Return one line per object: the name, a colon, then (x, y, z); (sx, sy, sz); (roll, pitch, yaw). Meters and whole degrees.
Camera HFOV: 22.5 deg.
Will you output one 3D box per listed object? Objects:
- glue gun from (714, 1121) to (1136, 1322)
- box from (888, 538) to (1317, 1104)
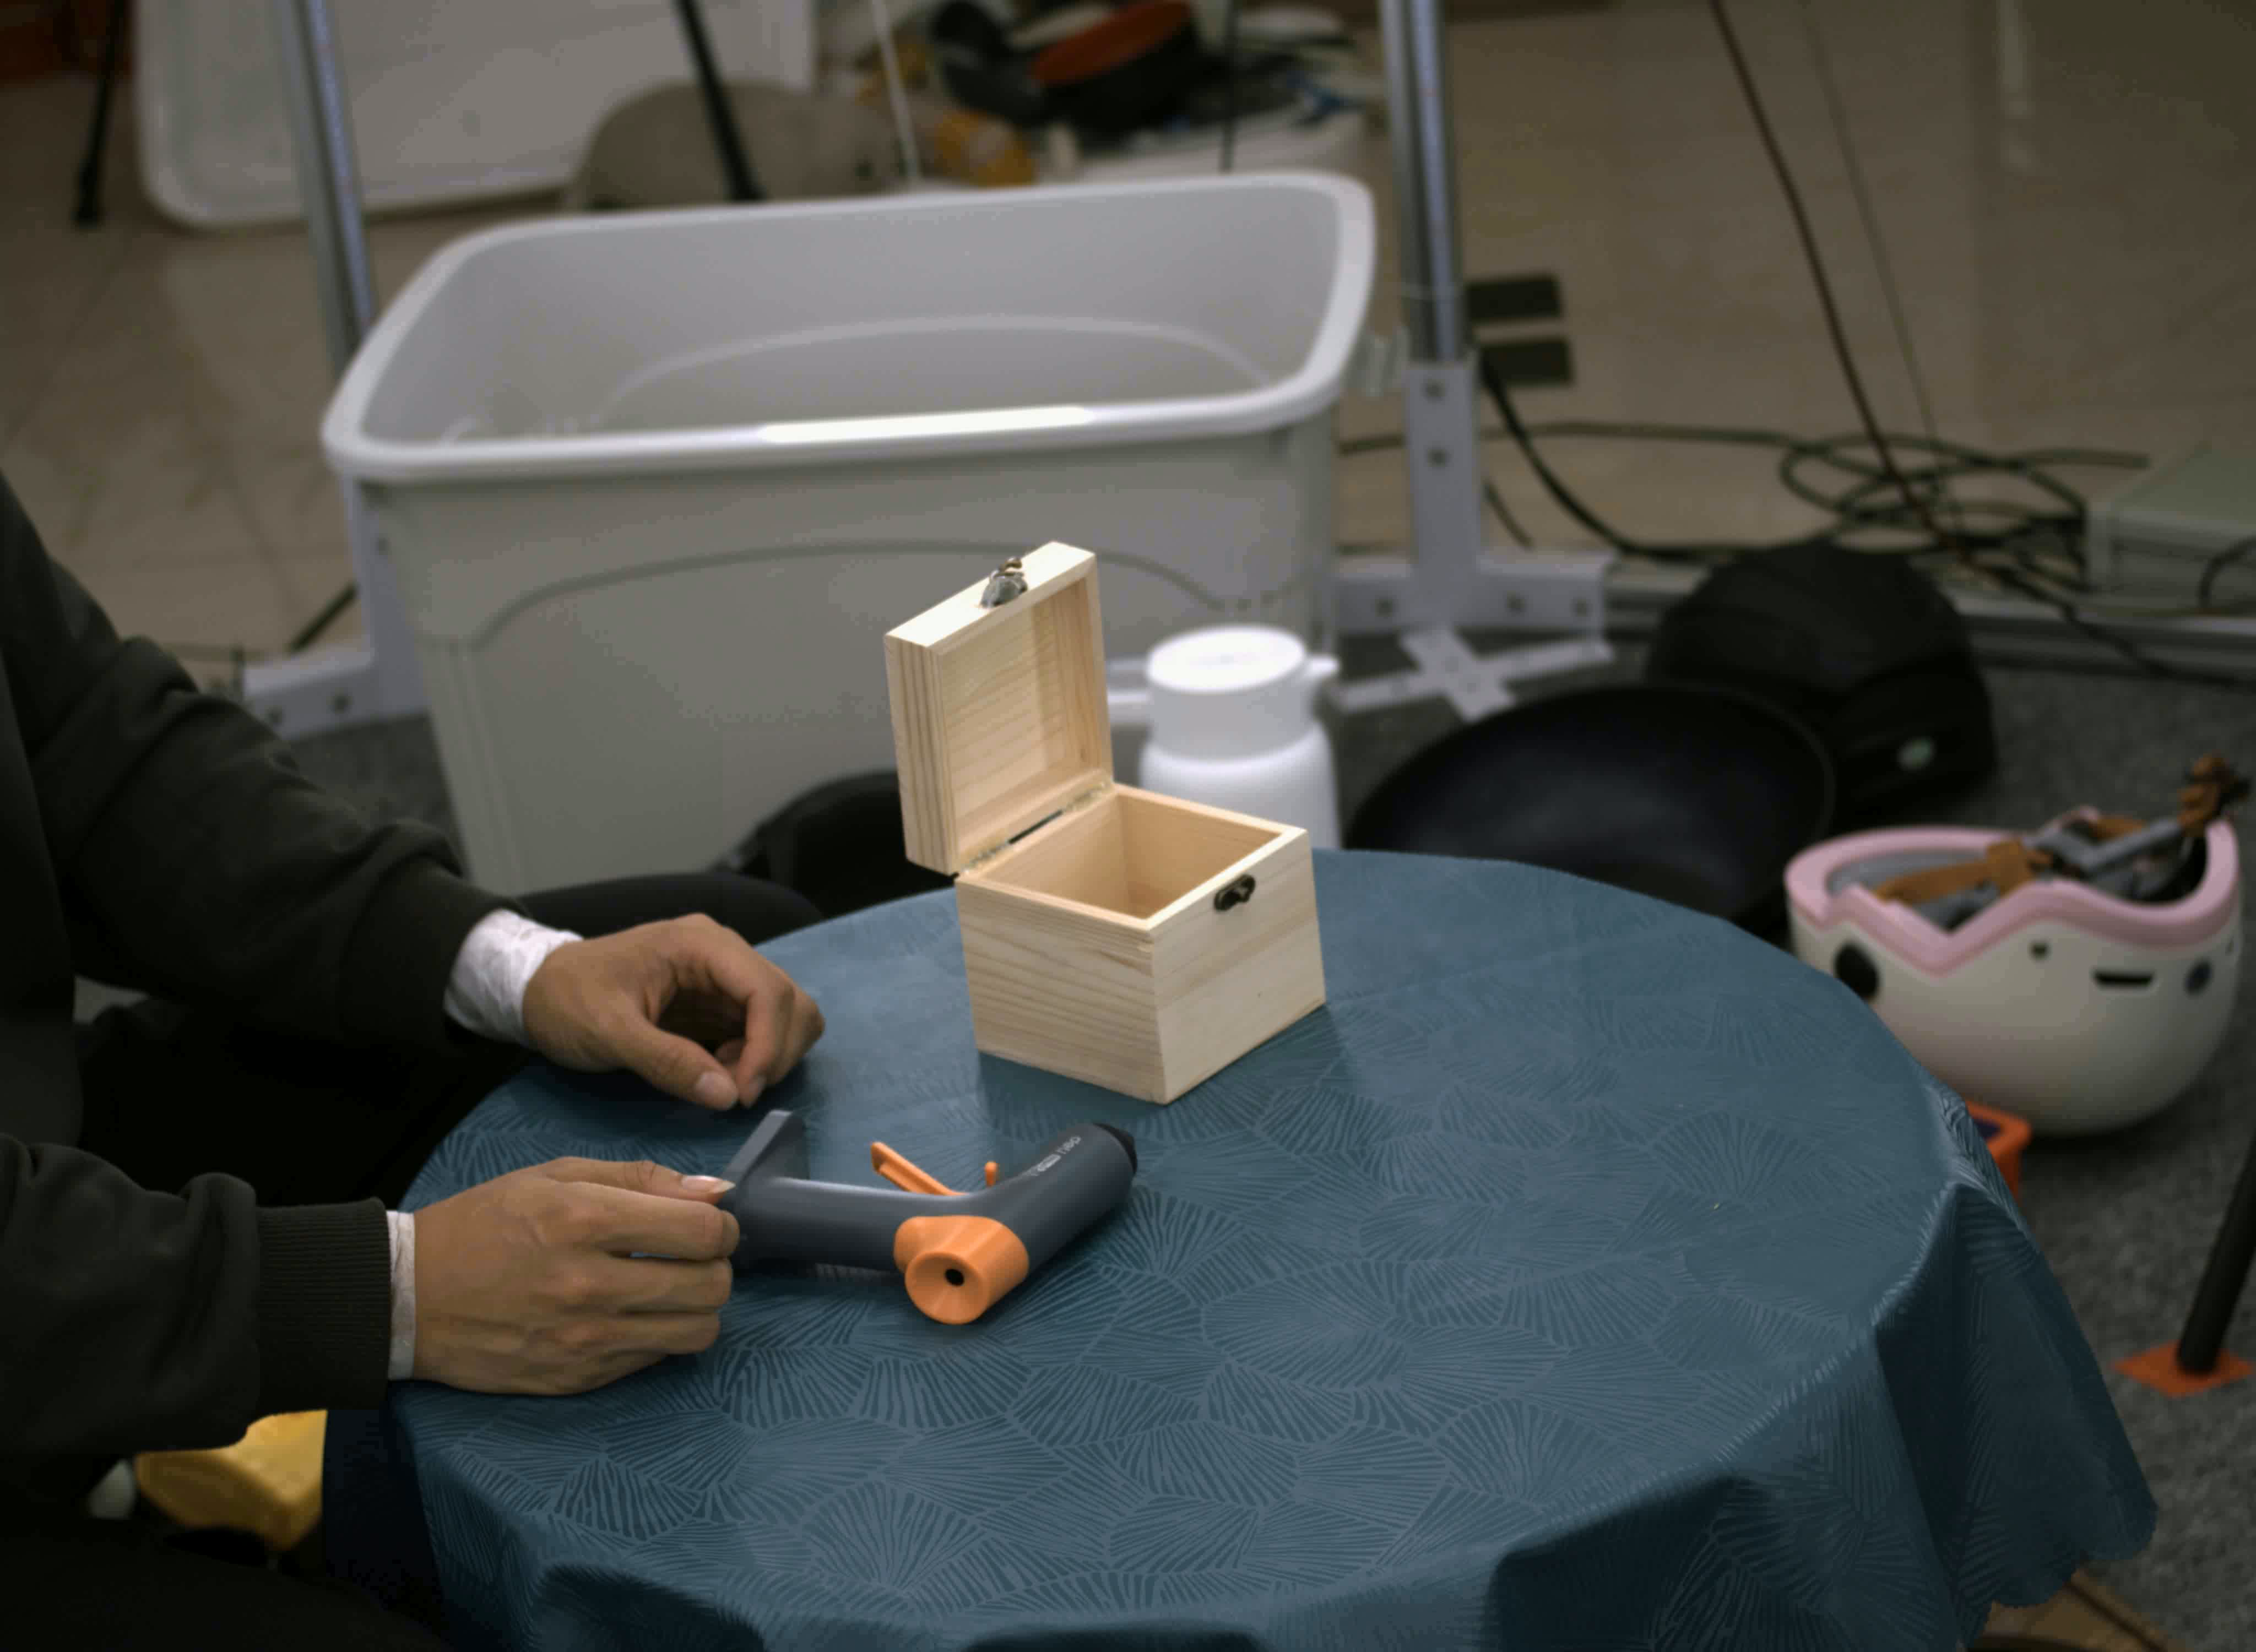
glue gun: (-0.075, 0.142, 2.123); (0.139, 0.041, 0.116); (4, 25, 17)
box: (-0.007, -0.004, 2.234); (0.133, 0.187, 0.101); (15, 32, 36)
